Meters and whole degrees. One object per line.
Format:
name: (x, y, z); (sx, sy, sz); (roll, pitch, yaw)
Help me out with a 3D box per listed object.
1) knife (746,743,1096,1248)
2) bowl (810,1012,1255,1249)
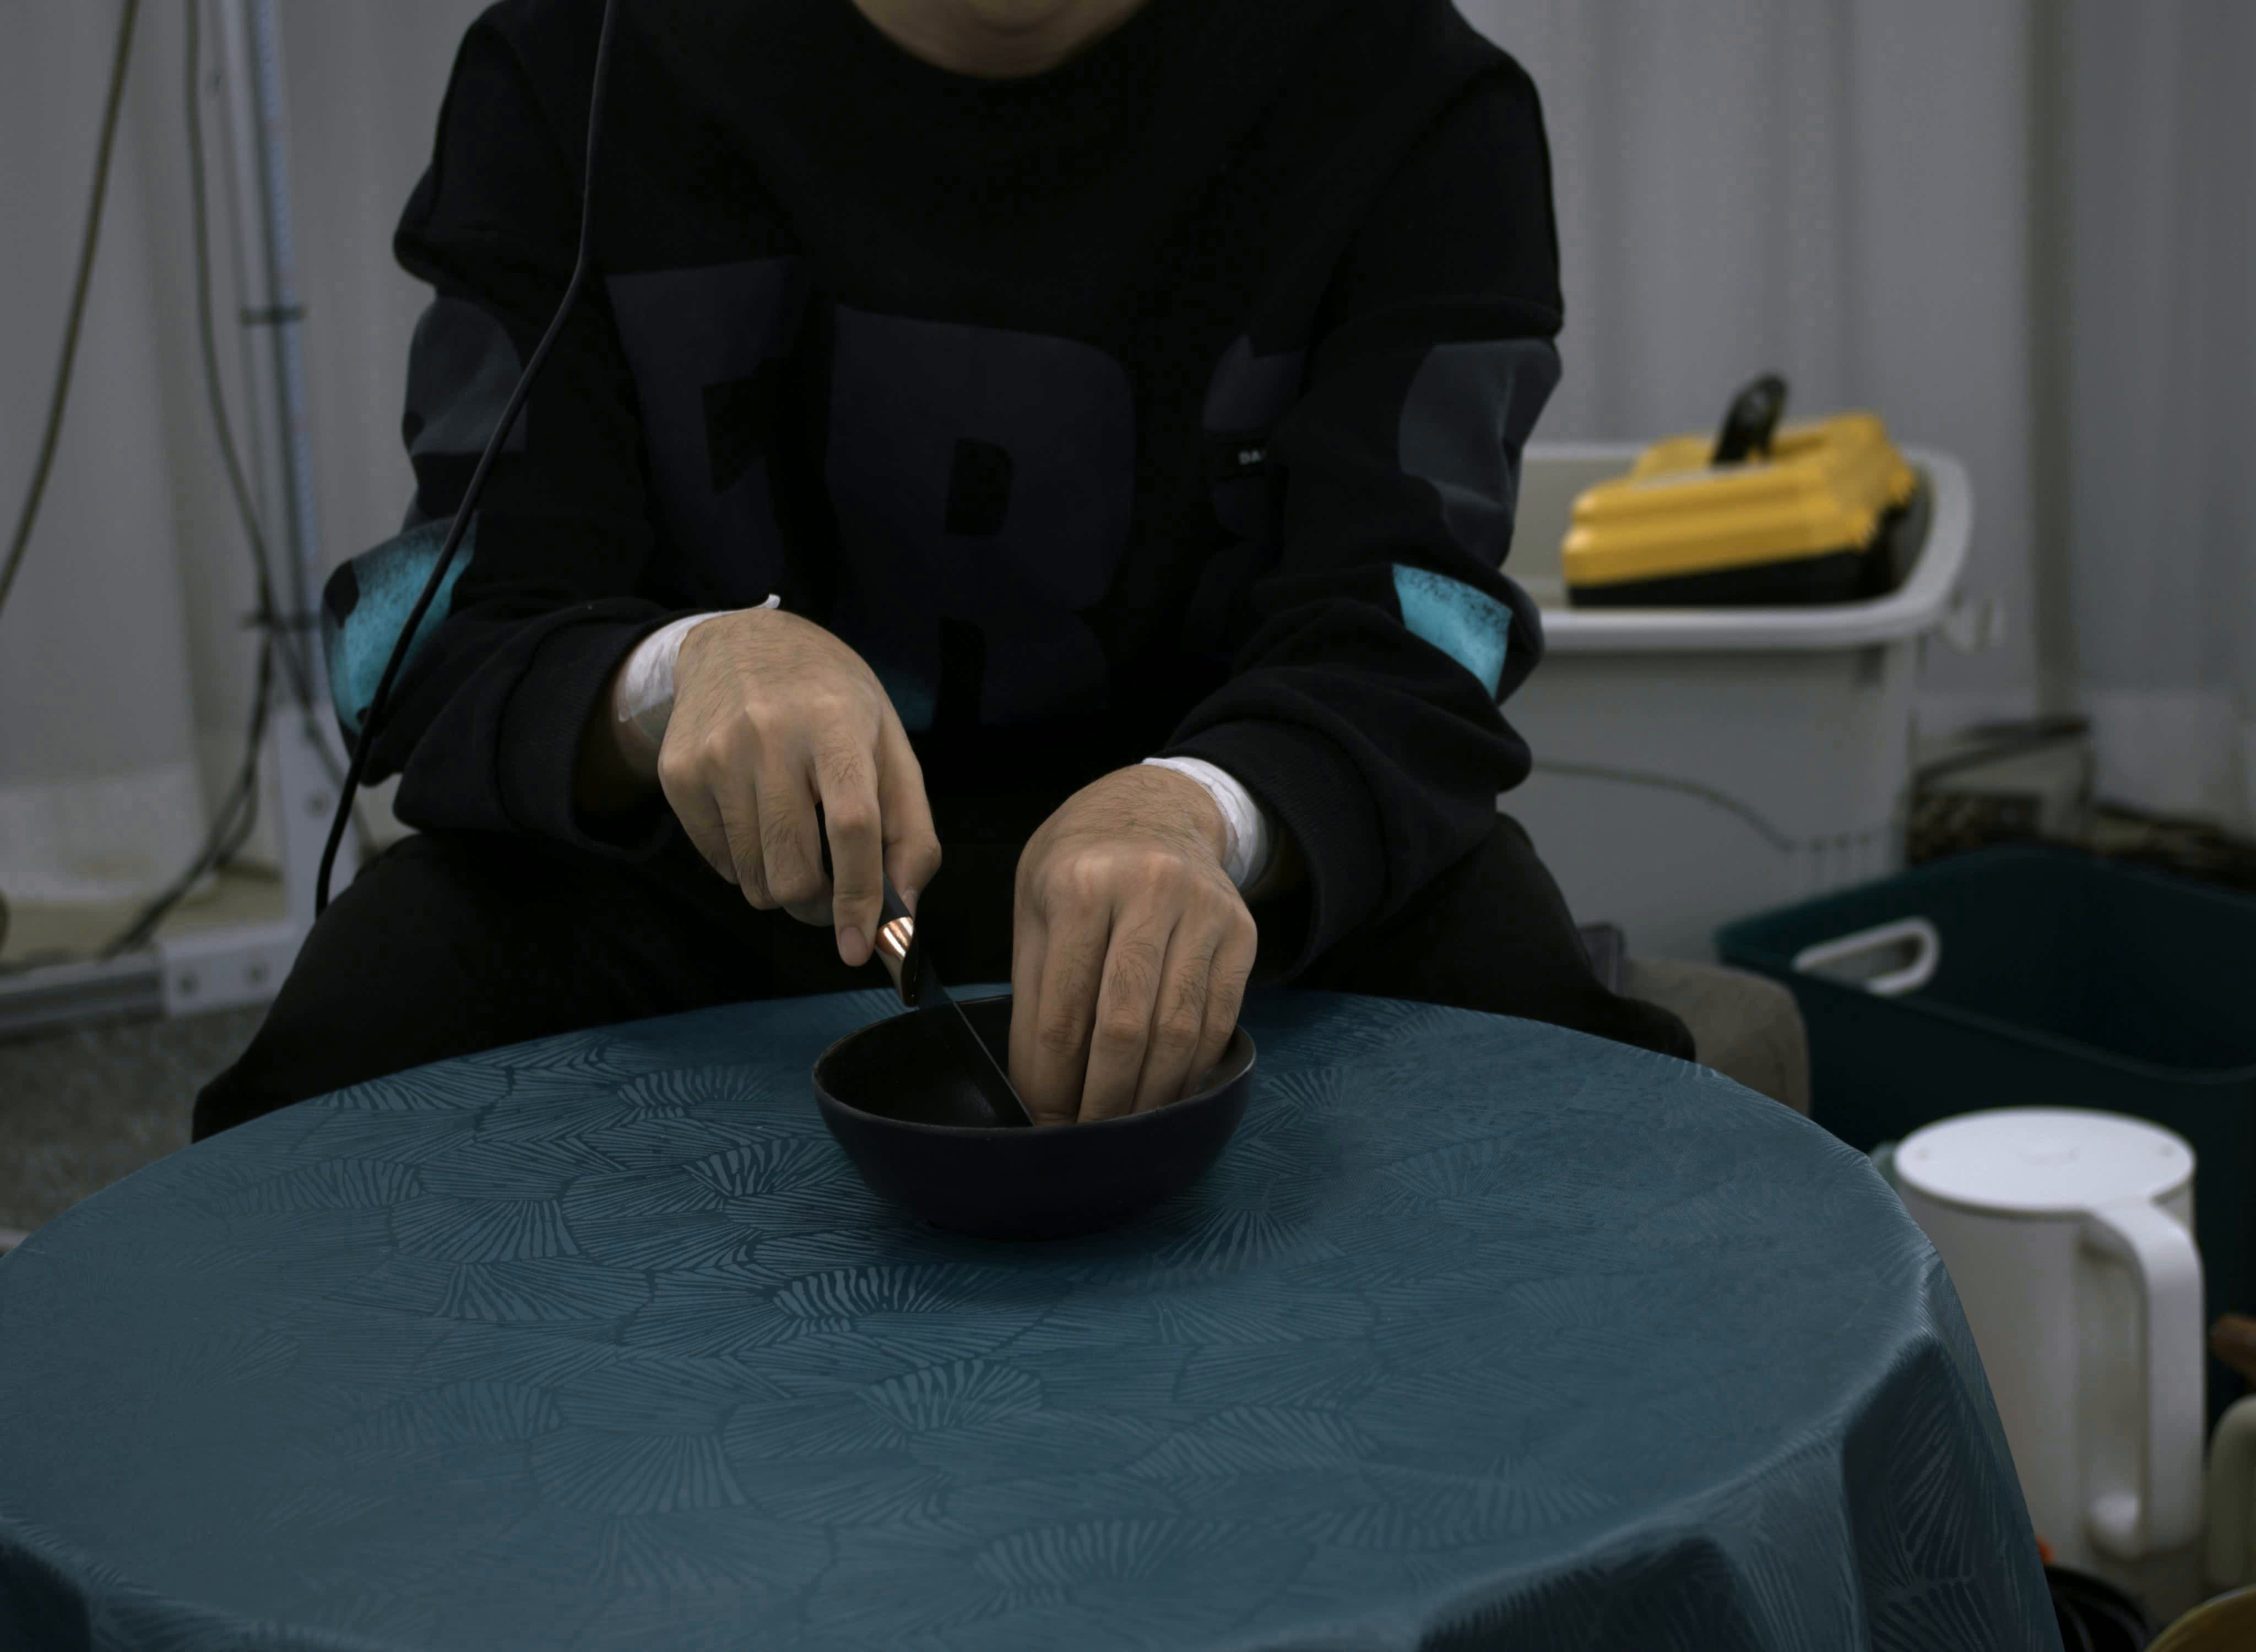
knife: (-0.066, 0.051, 1.739); (0.017, 0.026, 0.228); (-18, 50, -24)
bowl: (-0.028, 0.098, 1.699); (0.139, 0.049, 0.141); (-5, 11, 1)
